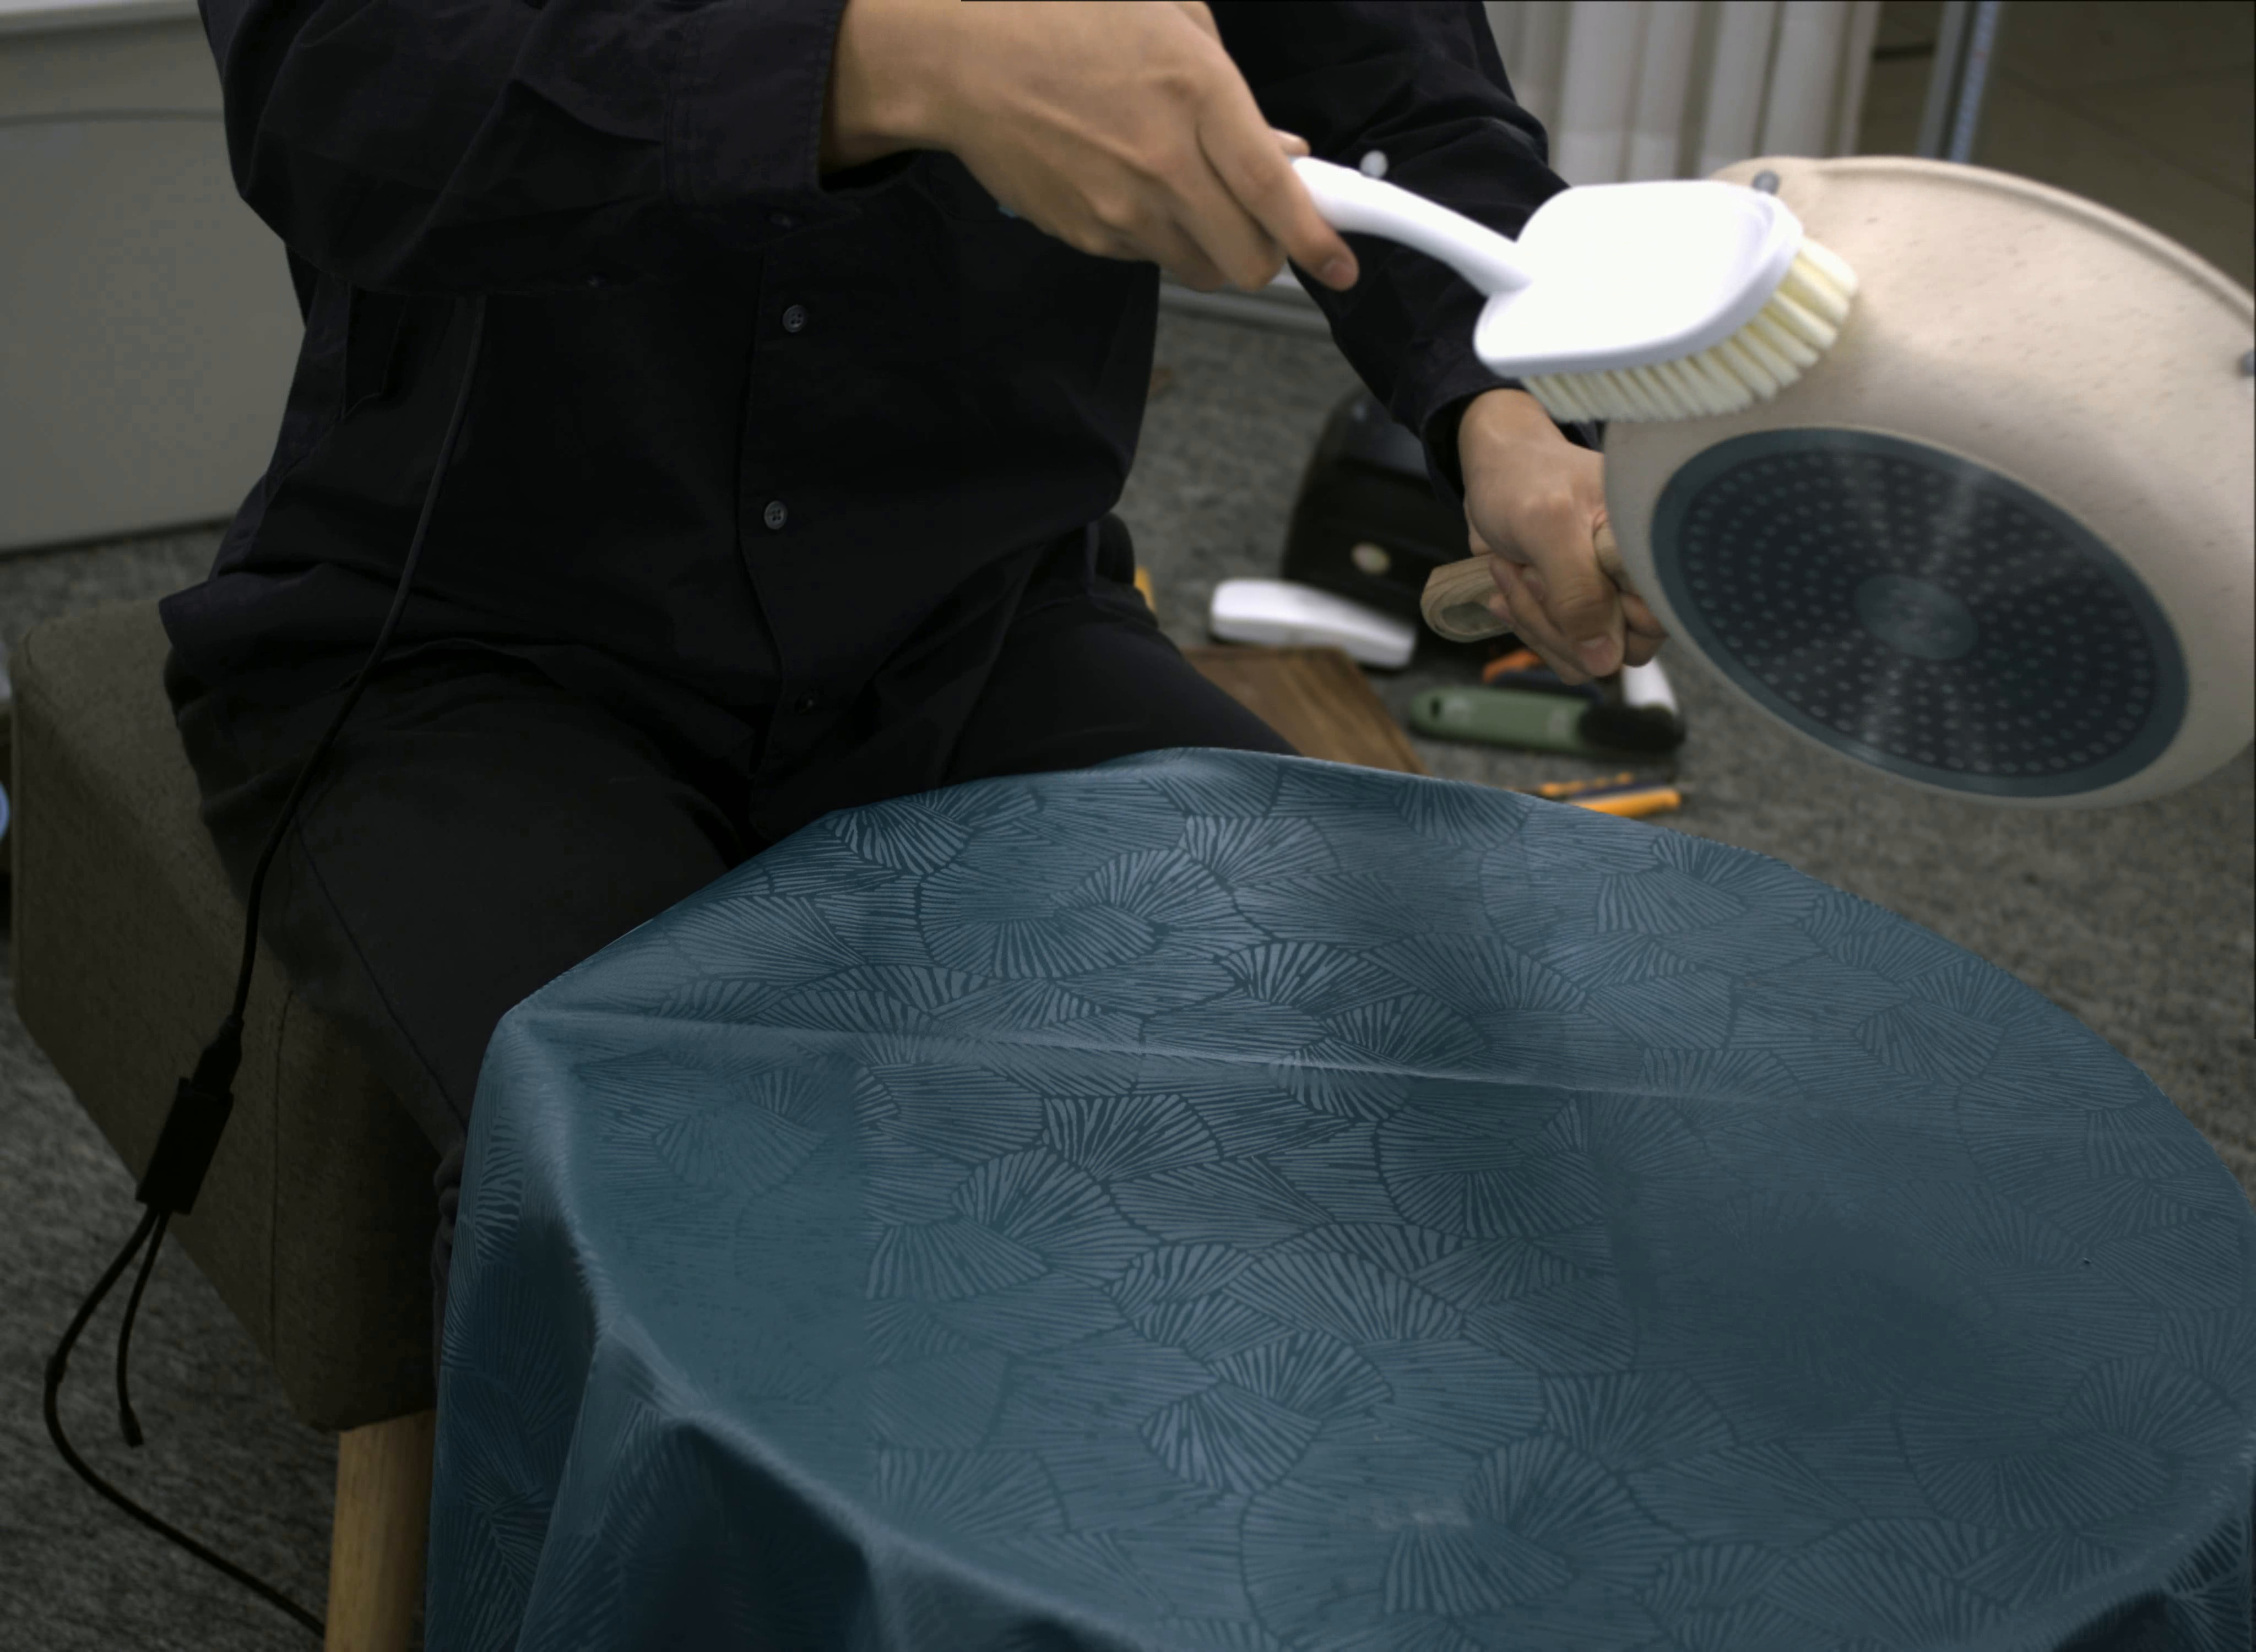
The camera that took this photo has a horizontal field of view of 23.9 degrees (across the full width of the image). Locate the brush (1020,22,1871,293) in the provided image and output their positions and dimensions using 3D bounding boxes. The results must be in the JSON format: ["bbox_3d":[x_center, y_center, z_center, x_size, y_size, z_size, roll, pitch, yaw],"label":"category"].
[{"bbox_3d":[0.104,-0.222,1.728,0.327,0.084,0.083,11,32,40],"label":"brush"}]

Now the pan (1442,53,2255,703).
[{"bbox_3d":[0.235,-0.122,1.805,0.436,0.261,0.102,-19,38,53],"label":"pan"}]
